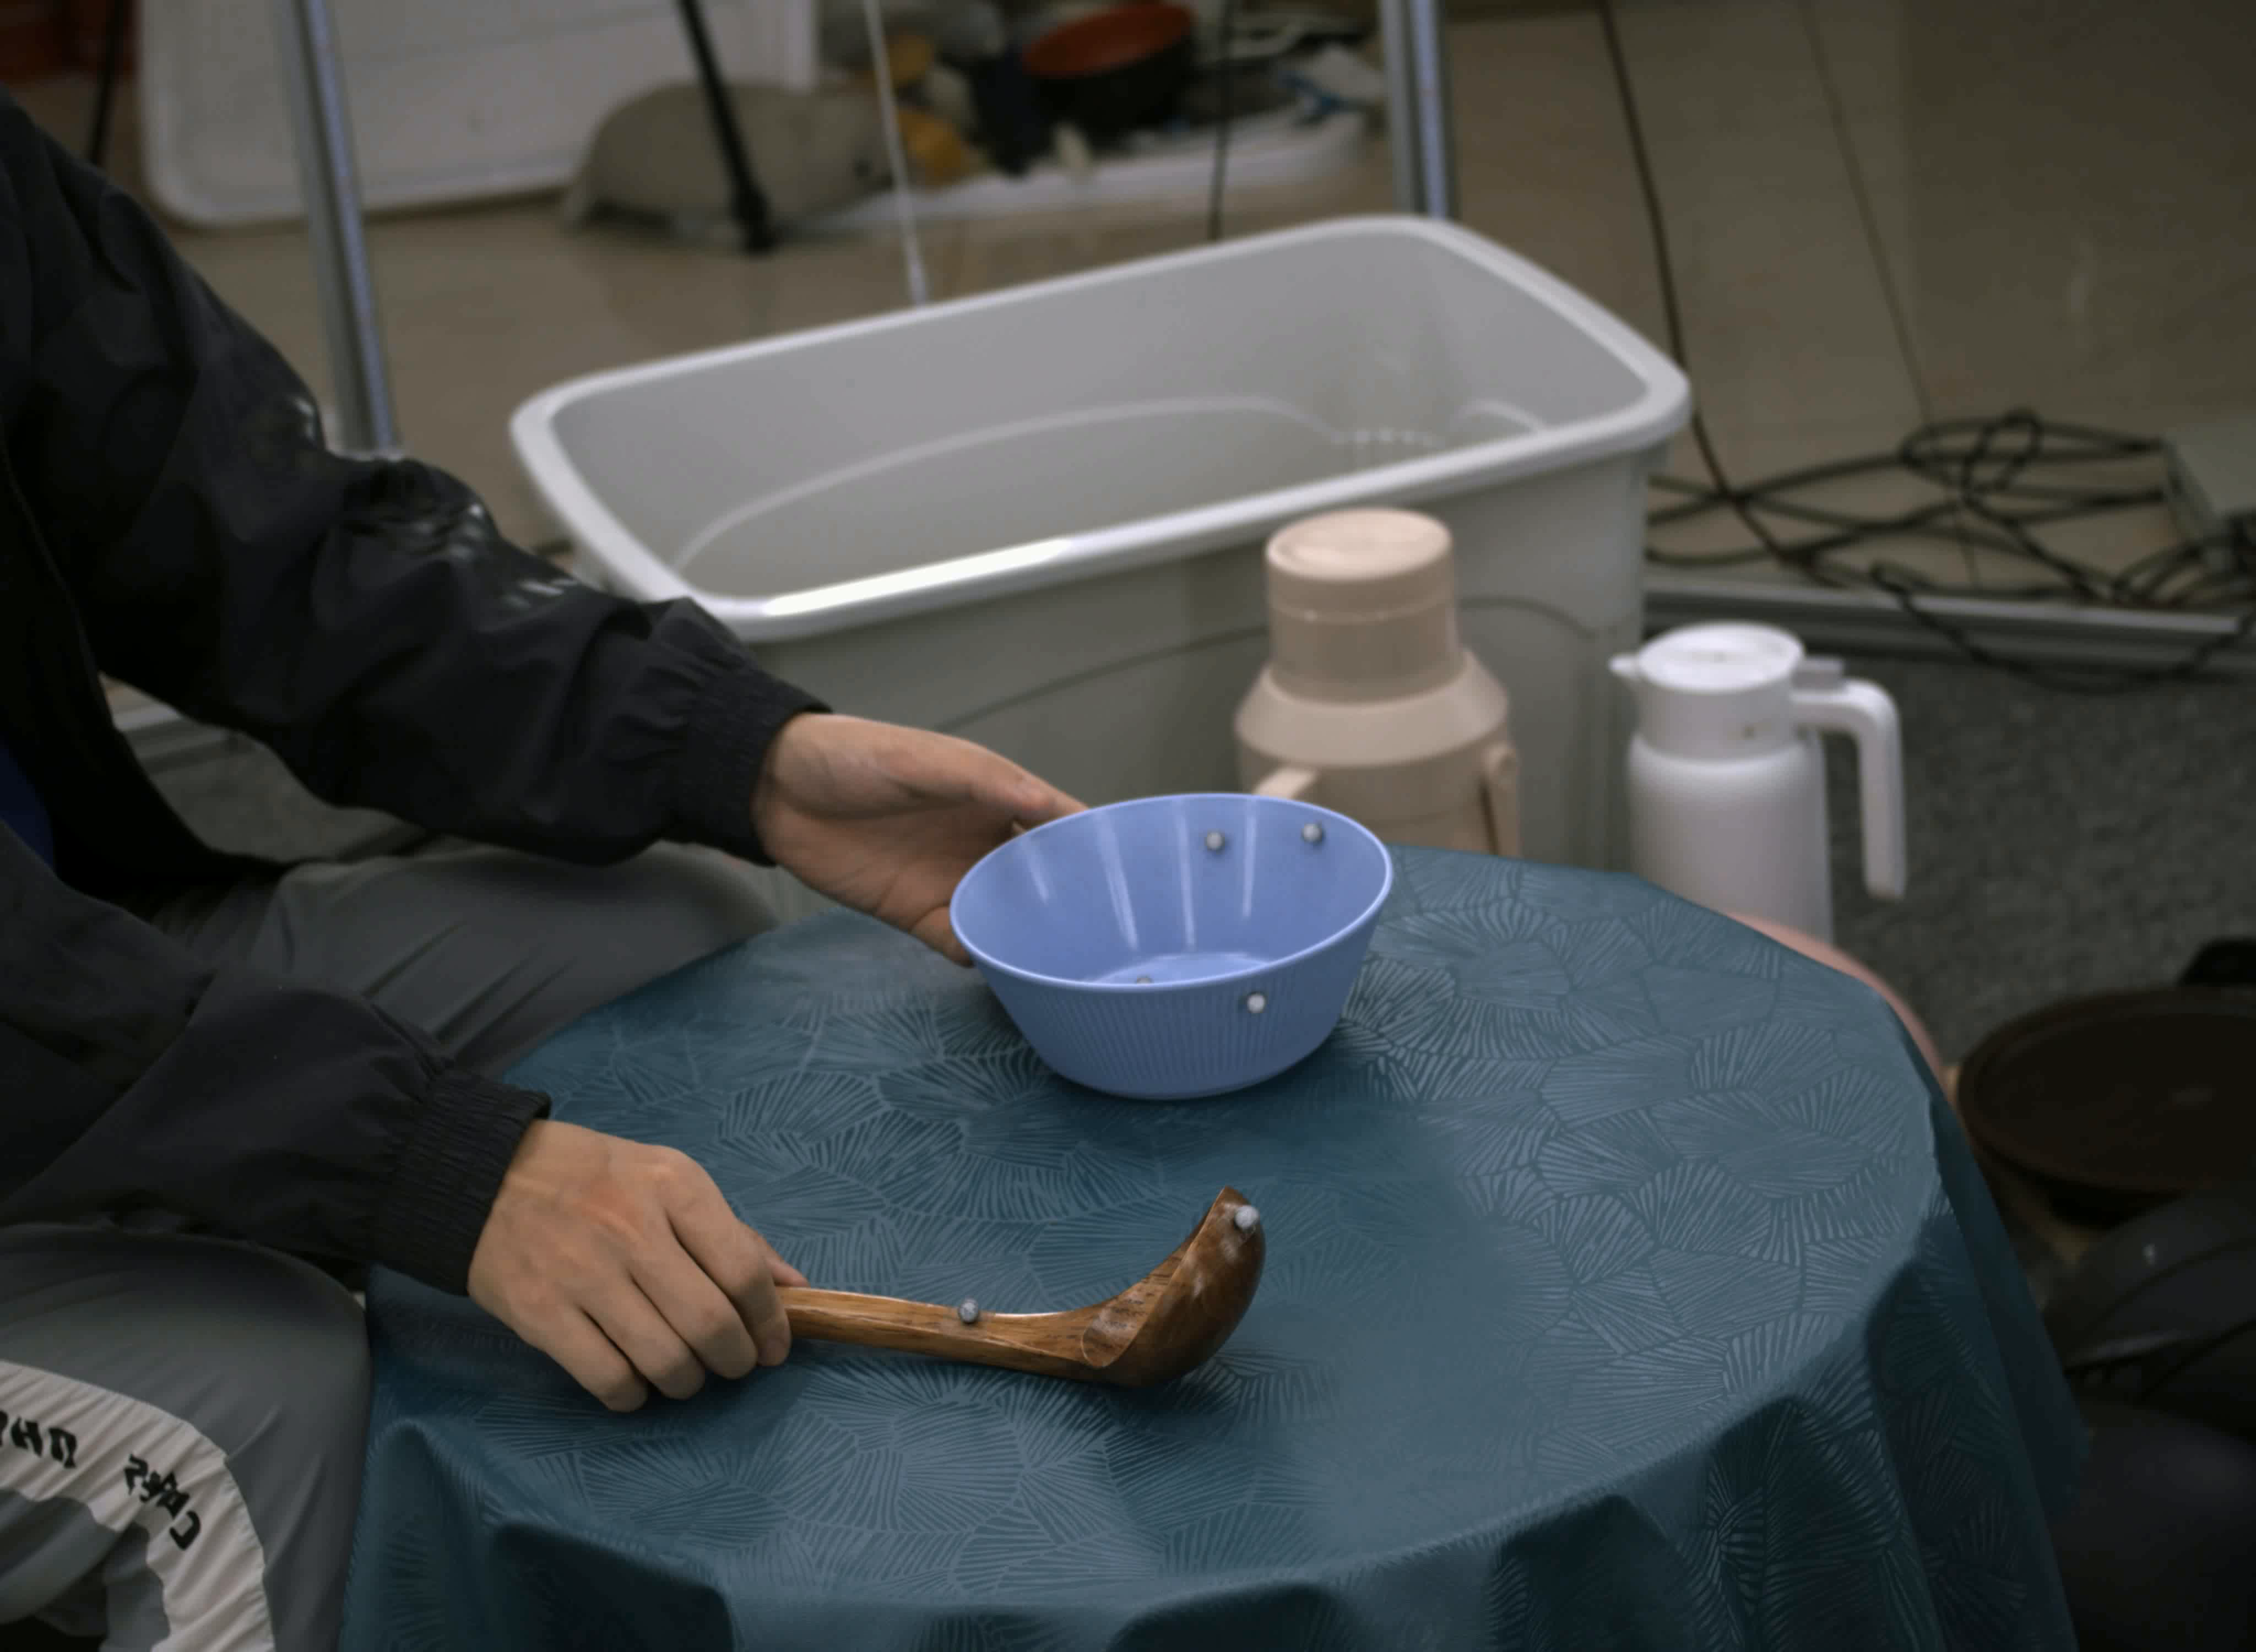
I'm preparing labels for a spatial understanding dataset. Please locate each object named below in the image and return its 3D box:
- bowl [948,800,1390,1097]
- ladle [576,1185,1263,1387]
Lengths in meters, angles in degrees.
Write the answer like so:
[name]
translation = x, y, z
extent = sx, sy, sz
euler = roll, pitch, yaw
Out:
[bowl]
translation = 0.019, 0.053, 2.242
extent = 0.176, 0.071, 0.173
euler = -5, 24, 3
[ladle]
translation = -0.081, 0.157, 2.035
extent = 0.273, 0.078, 0.081
euler = 5, 27, 22
